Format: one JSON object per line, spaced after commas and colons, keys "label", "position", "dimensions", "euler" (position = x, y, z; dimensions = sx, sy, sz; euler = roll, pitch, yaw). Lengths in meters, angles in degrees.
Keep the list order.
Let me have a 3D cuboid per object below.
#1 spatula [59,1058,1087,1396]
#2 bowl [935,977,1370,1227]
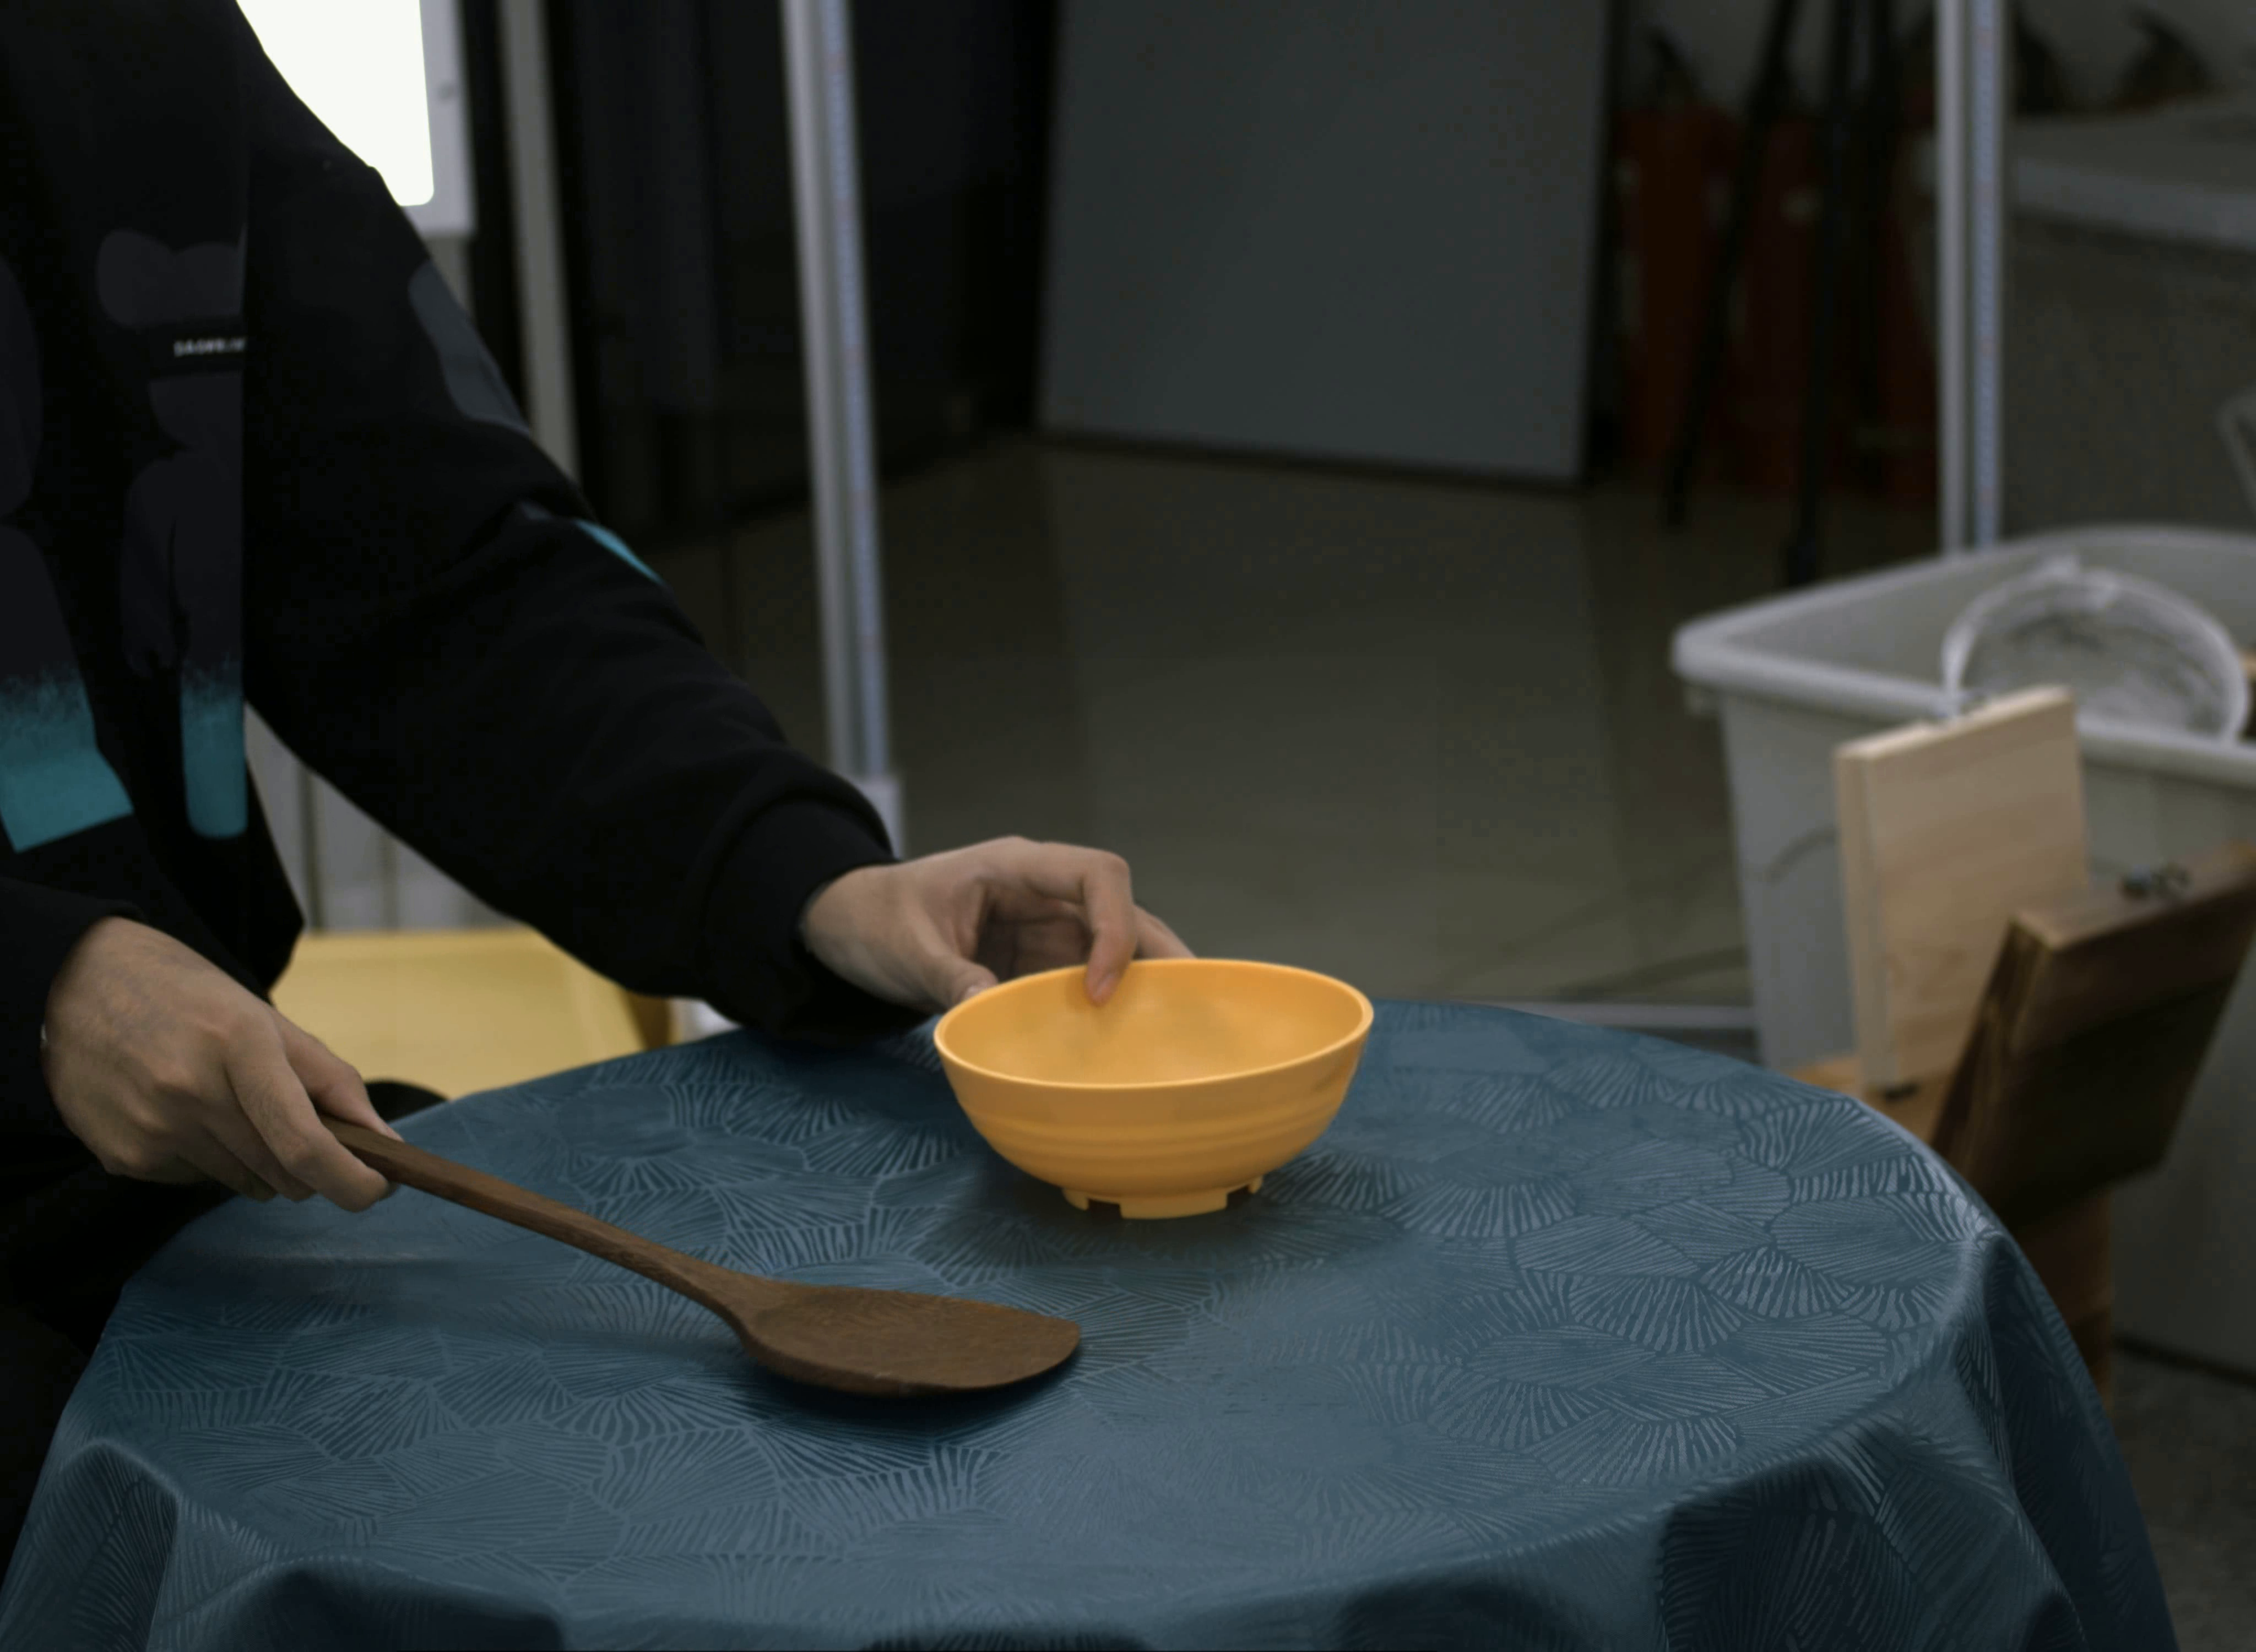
{"label": "spatula", "position": [-0.186, 0.121, 1.685], "dimensions": [0.388, 0.016, 0.094], "euler": [15, 14, 30]}
{"label": "bowl", "position": [0.009, 0.094, 1.764], "dimensions": [0.143, 0.061, 0.145], "euler": [-4, 12, 0]}
